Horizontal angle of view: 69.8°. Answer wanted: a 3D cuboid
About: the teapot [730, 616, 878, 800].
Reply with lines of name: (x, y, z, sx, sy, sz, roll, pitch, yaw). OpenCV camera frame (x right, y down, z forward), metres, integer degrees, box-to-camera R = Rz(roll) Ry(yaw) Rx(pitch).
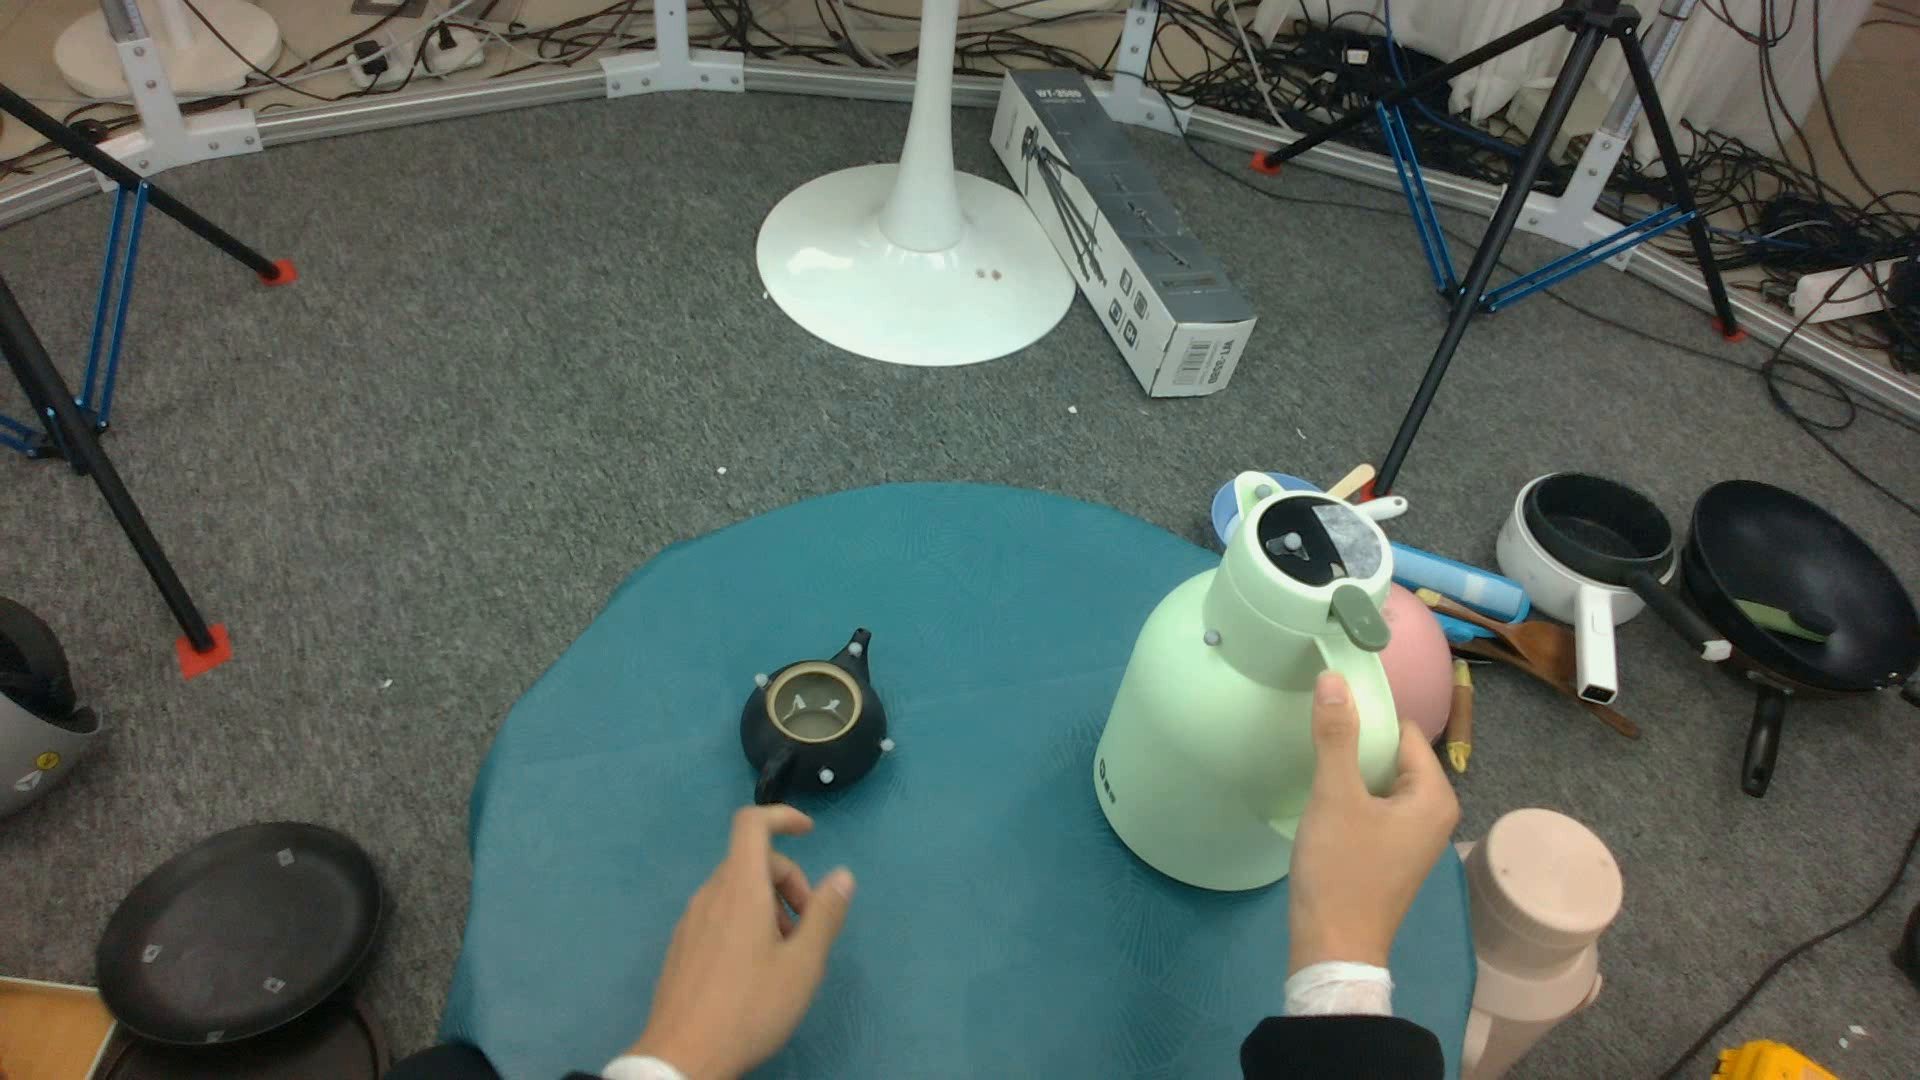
teapot: (-0.096, 0.107, 0.848, 0.091, 0.053, 0.134, 22, 50, 12)

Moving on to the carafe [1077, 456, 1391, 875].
carafe: (0.165, 0.085, 0.778, 0.144, 0.255, 0.187, -8, 54, -17)
